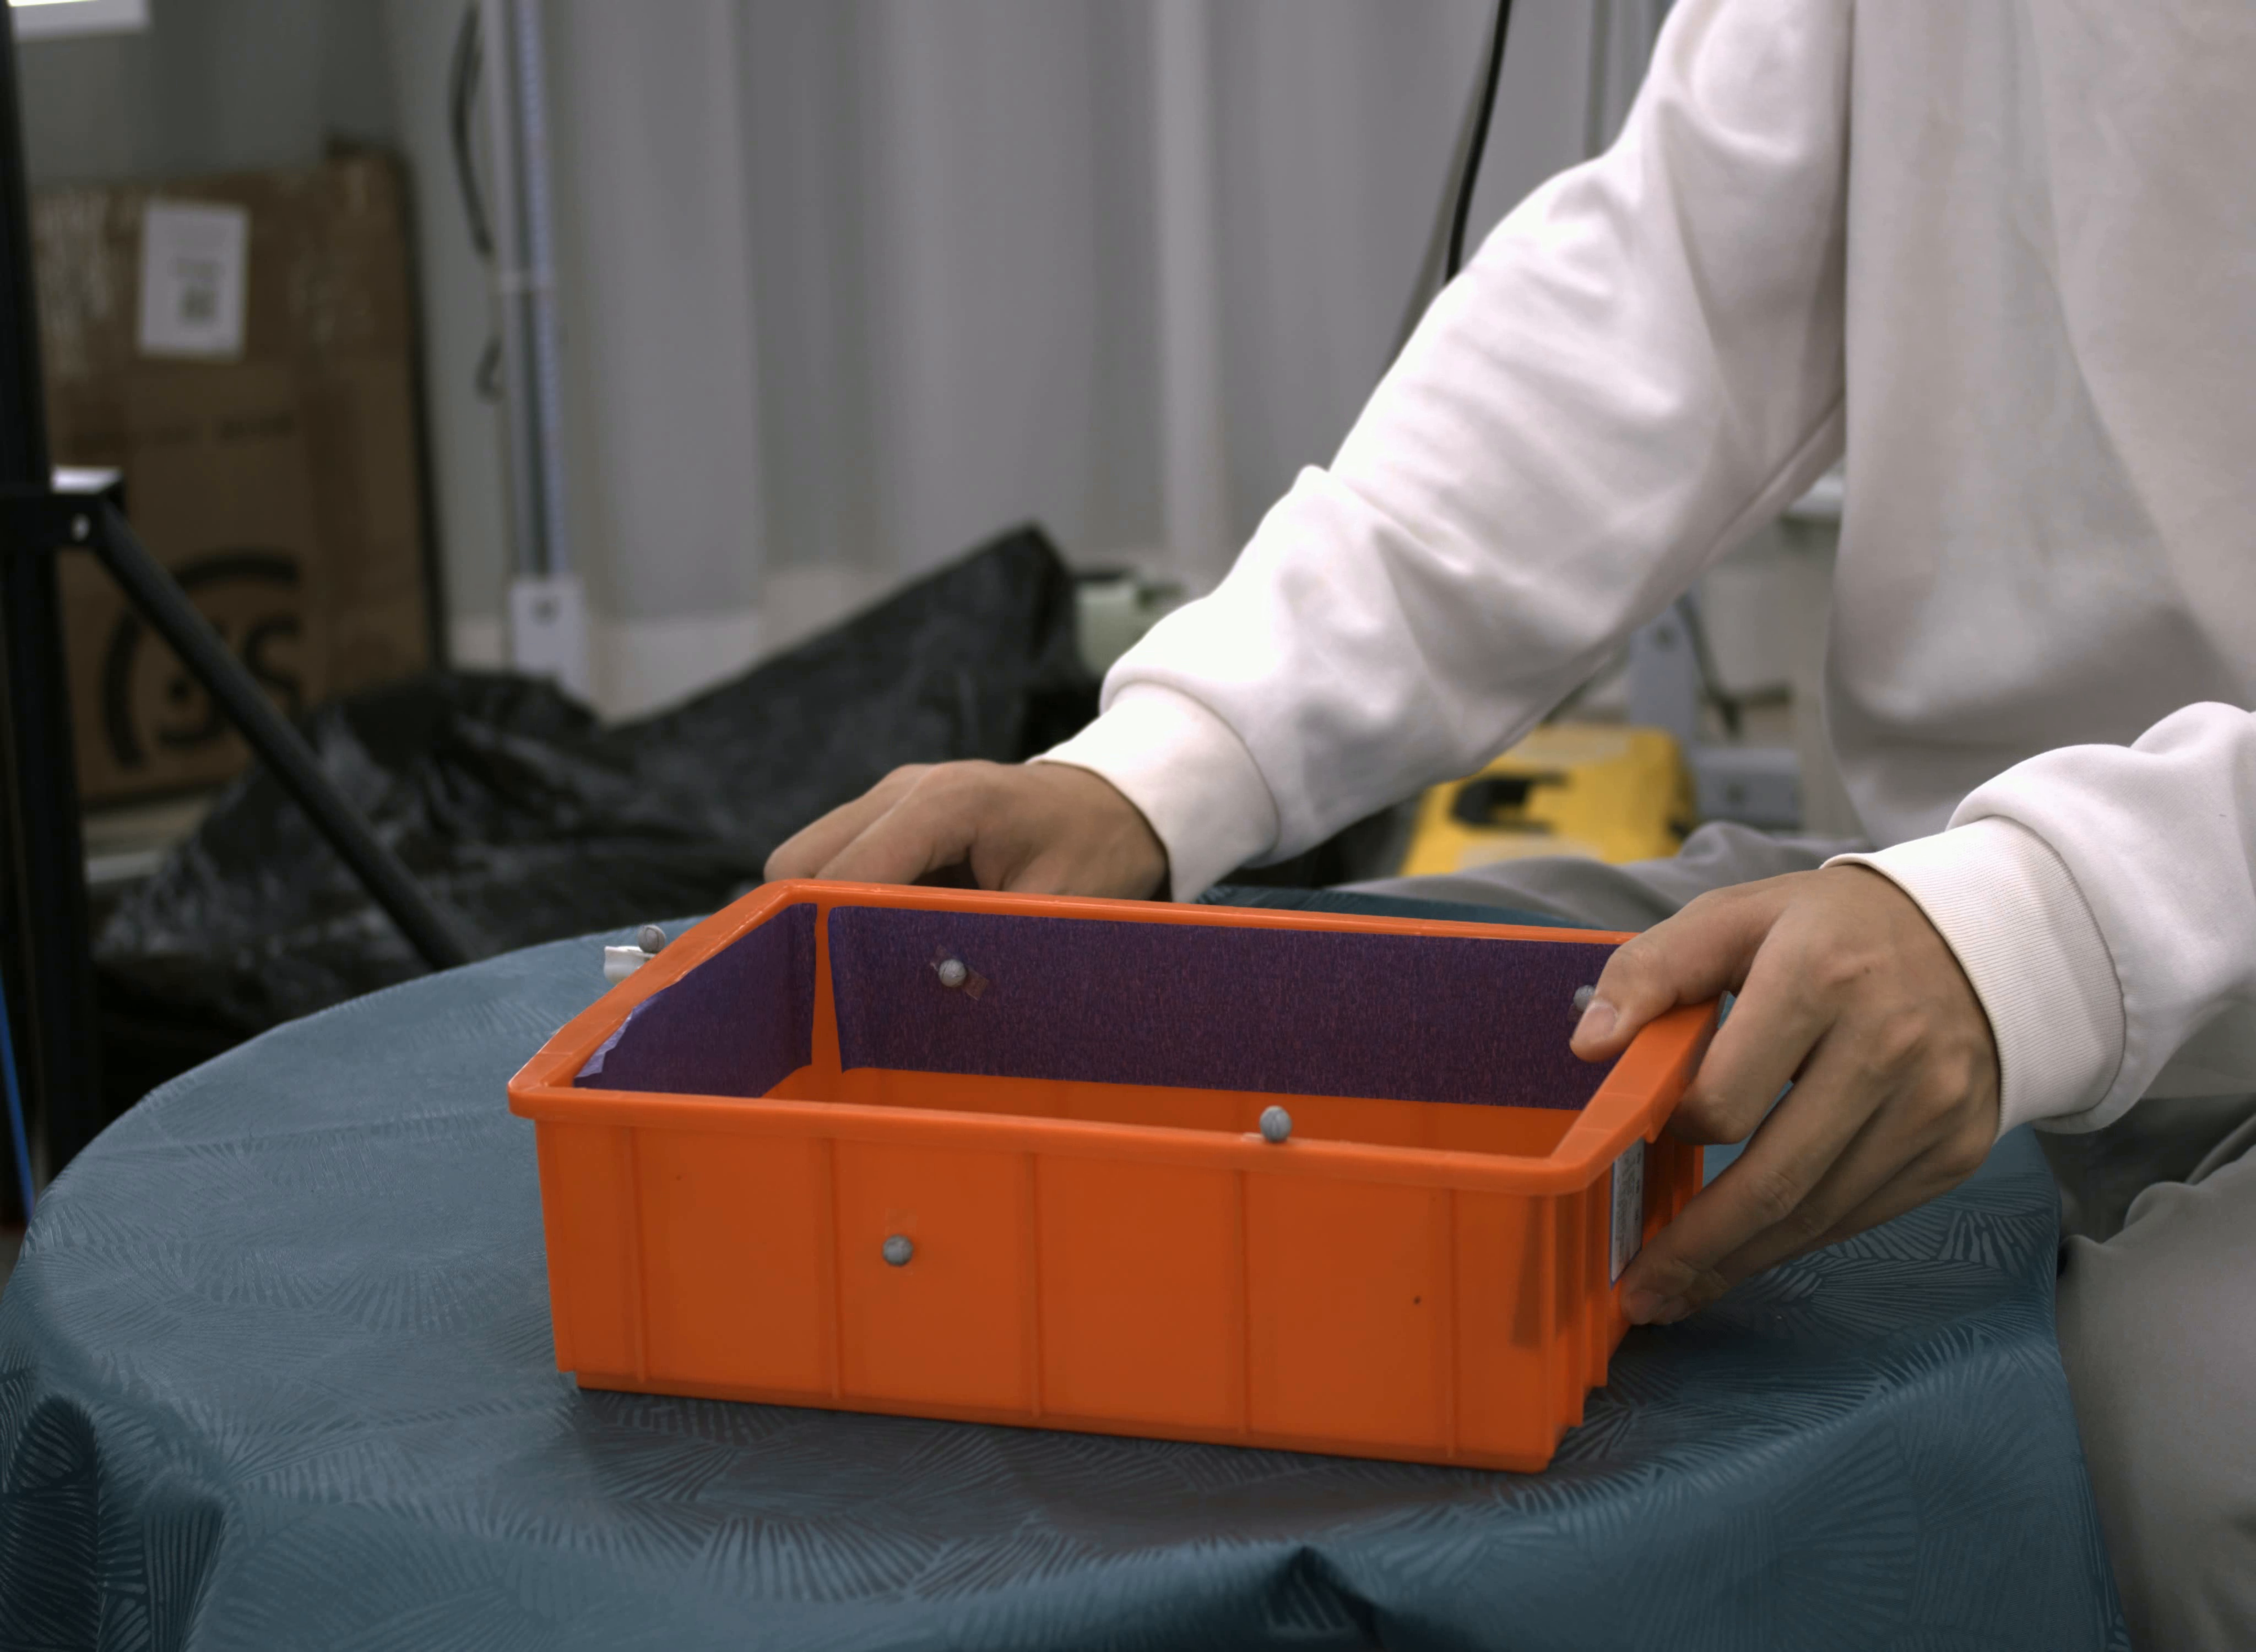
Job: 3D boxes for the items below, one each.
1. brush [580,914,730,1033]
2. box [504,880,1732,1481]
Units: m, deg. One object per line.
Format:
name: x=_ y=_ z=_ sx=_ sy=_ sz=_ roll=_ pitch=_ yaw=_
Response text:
brush: x=-0.083 y=0.060 z=1.710 sx=0.070 sy=0.056 sz=0.261 roll=22 pitch=9 yaw=26
box: x=0.003 y=0.093 z=1.456 sx=0.307 sy=0.096 sz=0.204 roll=5 pitch=16 yaw=19
